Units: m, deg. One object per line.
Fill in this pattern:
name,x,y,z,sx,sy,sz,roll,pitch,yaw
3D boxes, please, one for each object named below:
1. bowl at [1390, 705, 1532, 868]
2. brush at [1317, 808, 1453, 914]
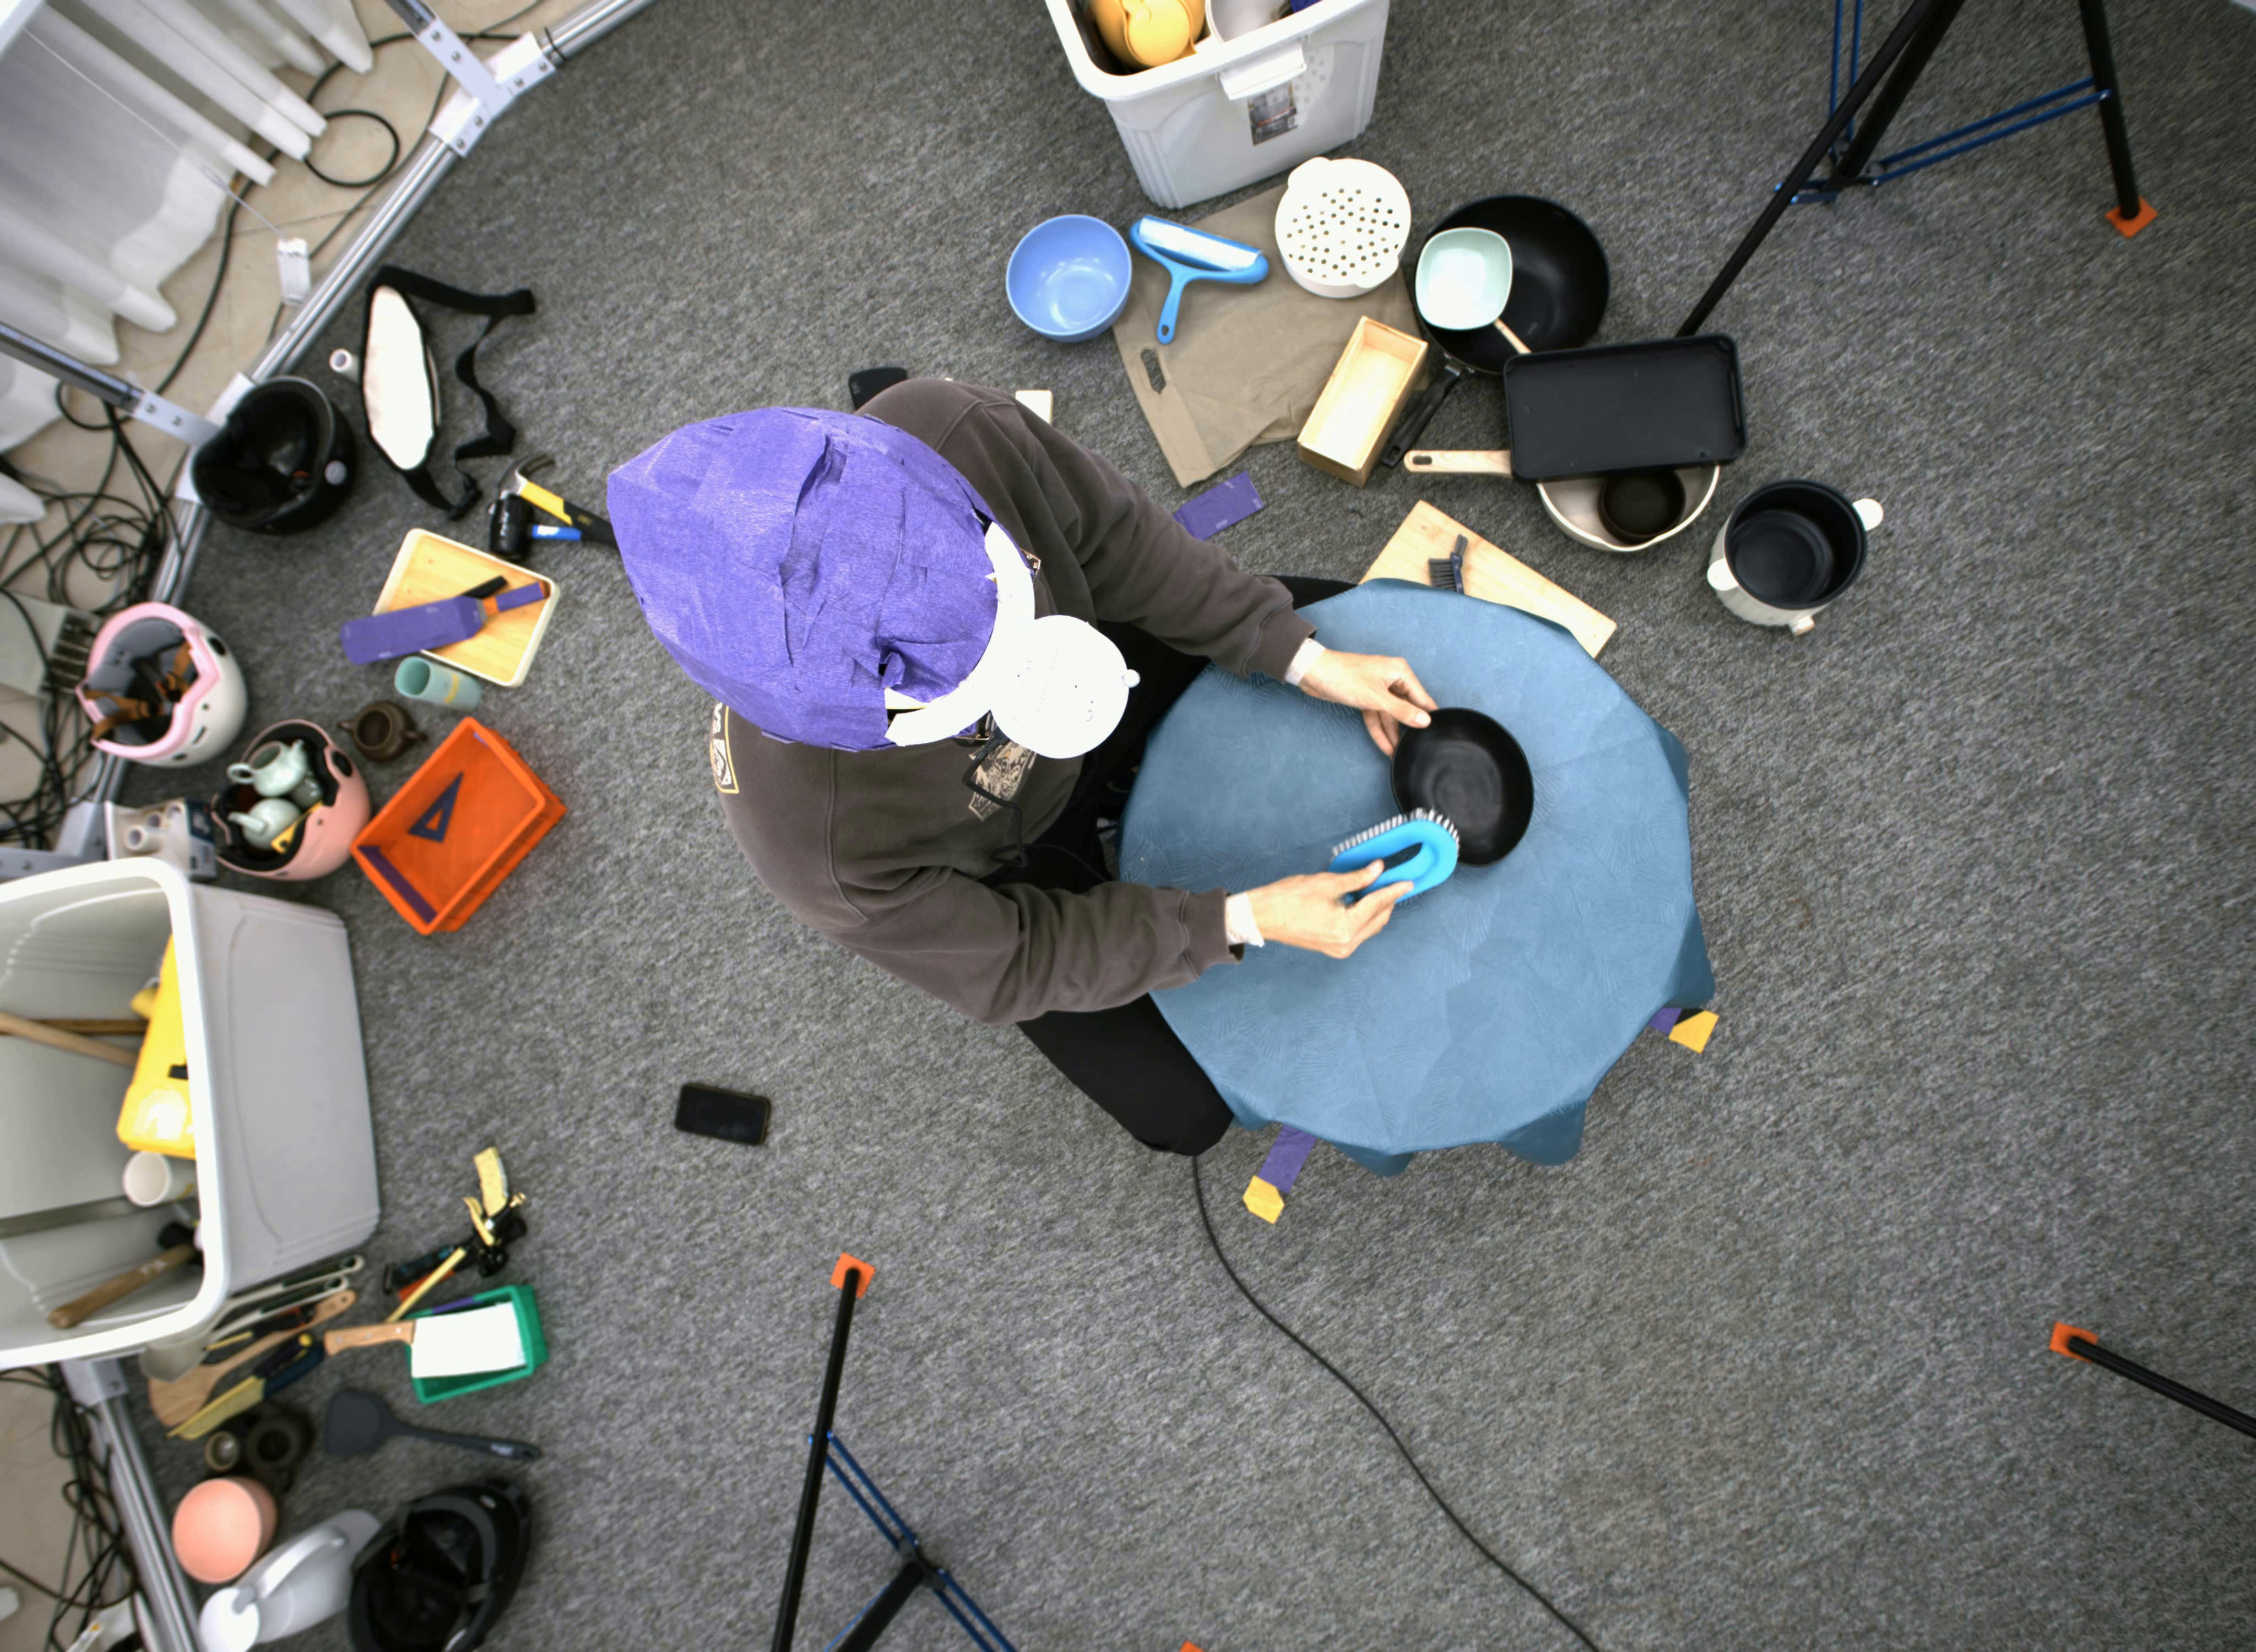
bowl,0.343,-0.042,1.417,0.138,0.066,0.169,-25,84,9
brush,0.256,0.042,1.367,0.144,0.062,0.085,-23,111,24
